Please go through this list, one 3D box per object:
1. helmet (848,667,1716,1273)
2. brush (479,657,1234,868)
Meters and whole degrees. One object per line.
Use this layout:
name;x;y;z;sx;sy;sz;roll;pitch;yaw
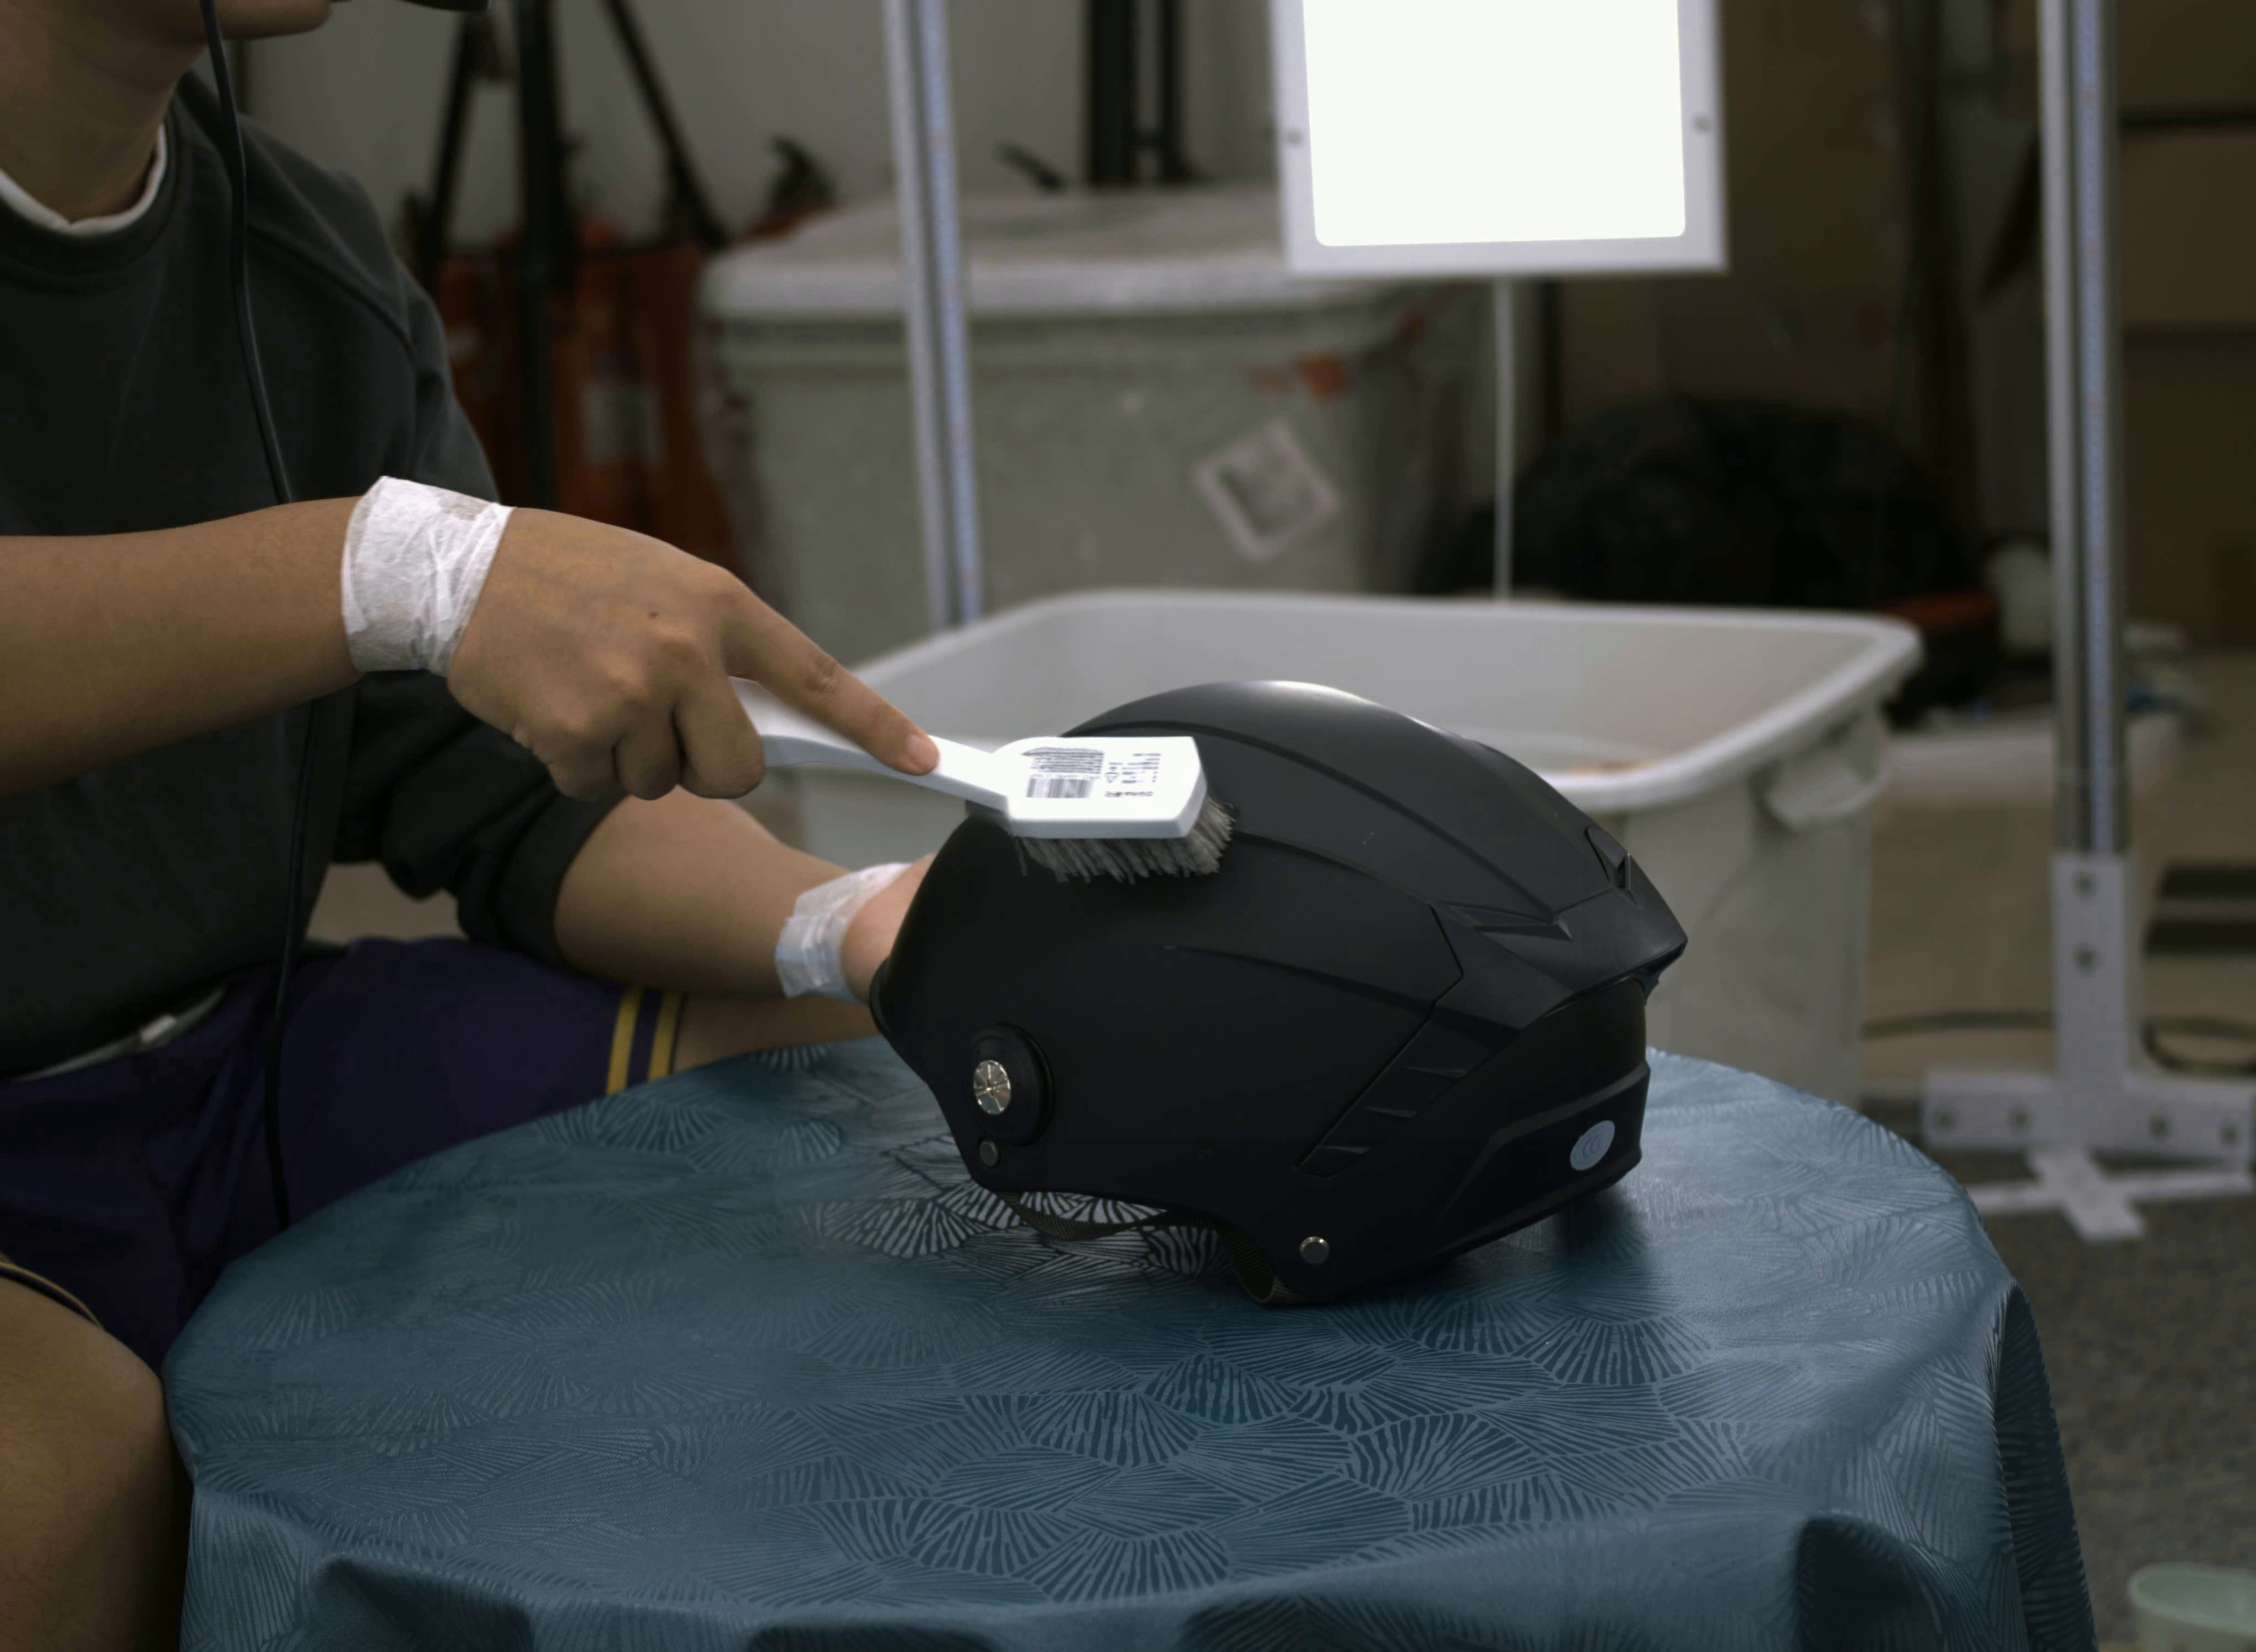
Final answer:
helmet;0.054;0.035;1.843;0.281;0.174;0.240;28;29;32
brush;-0.087;-0.020;1.760;0.244;0.050;0.034;7;57;5
